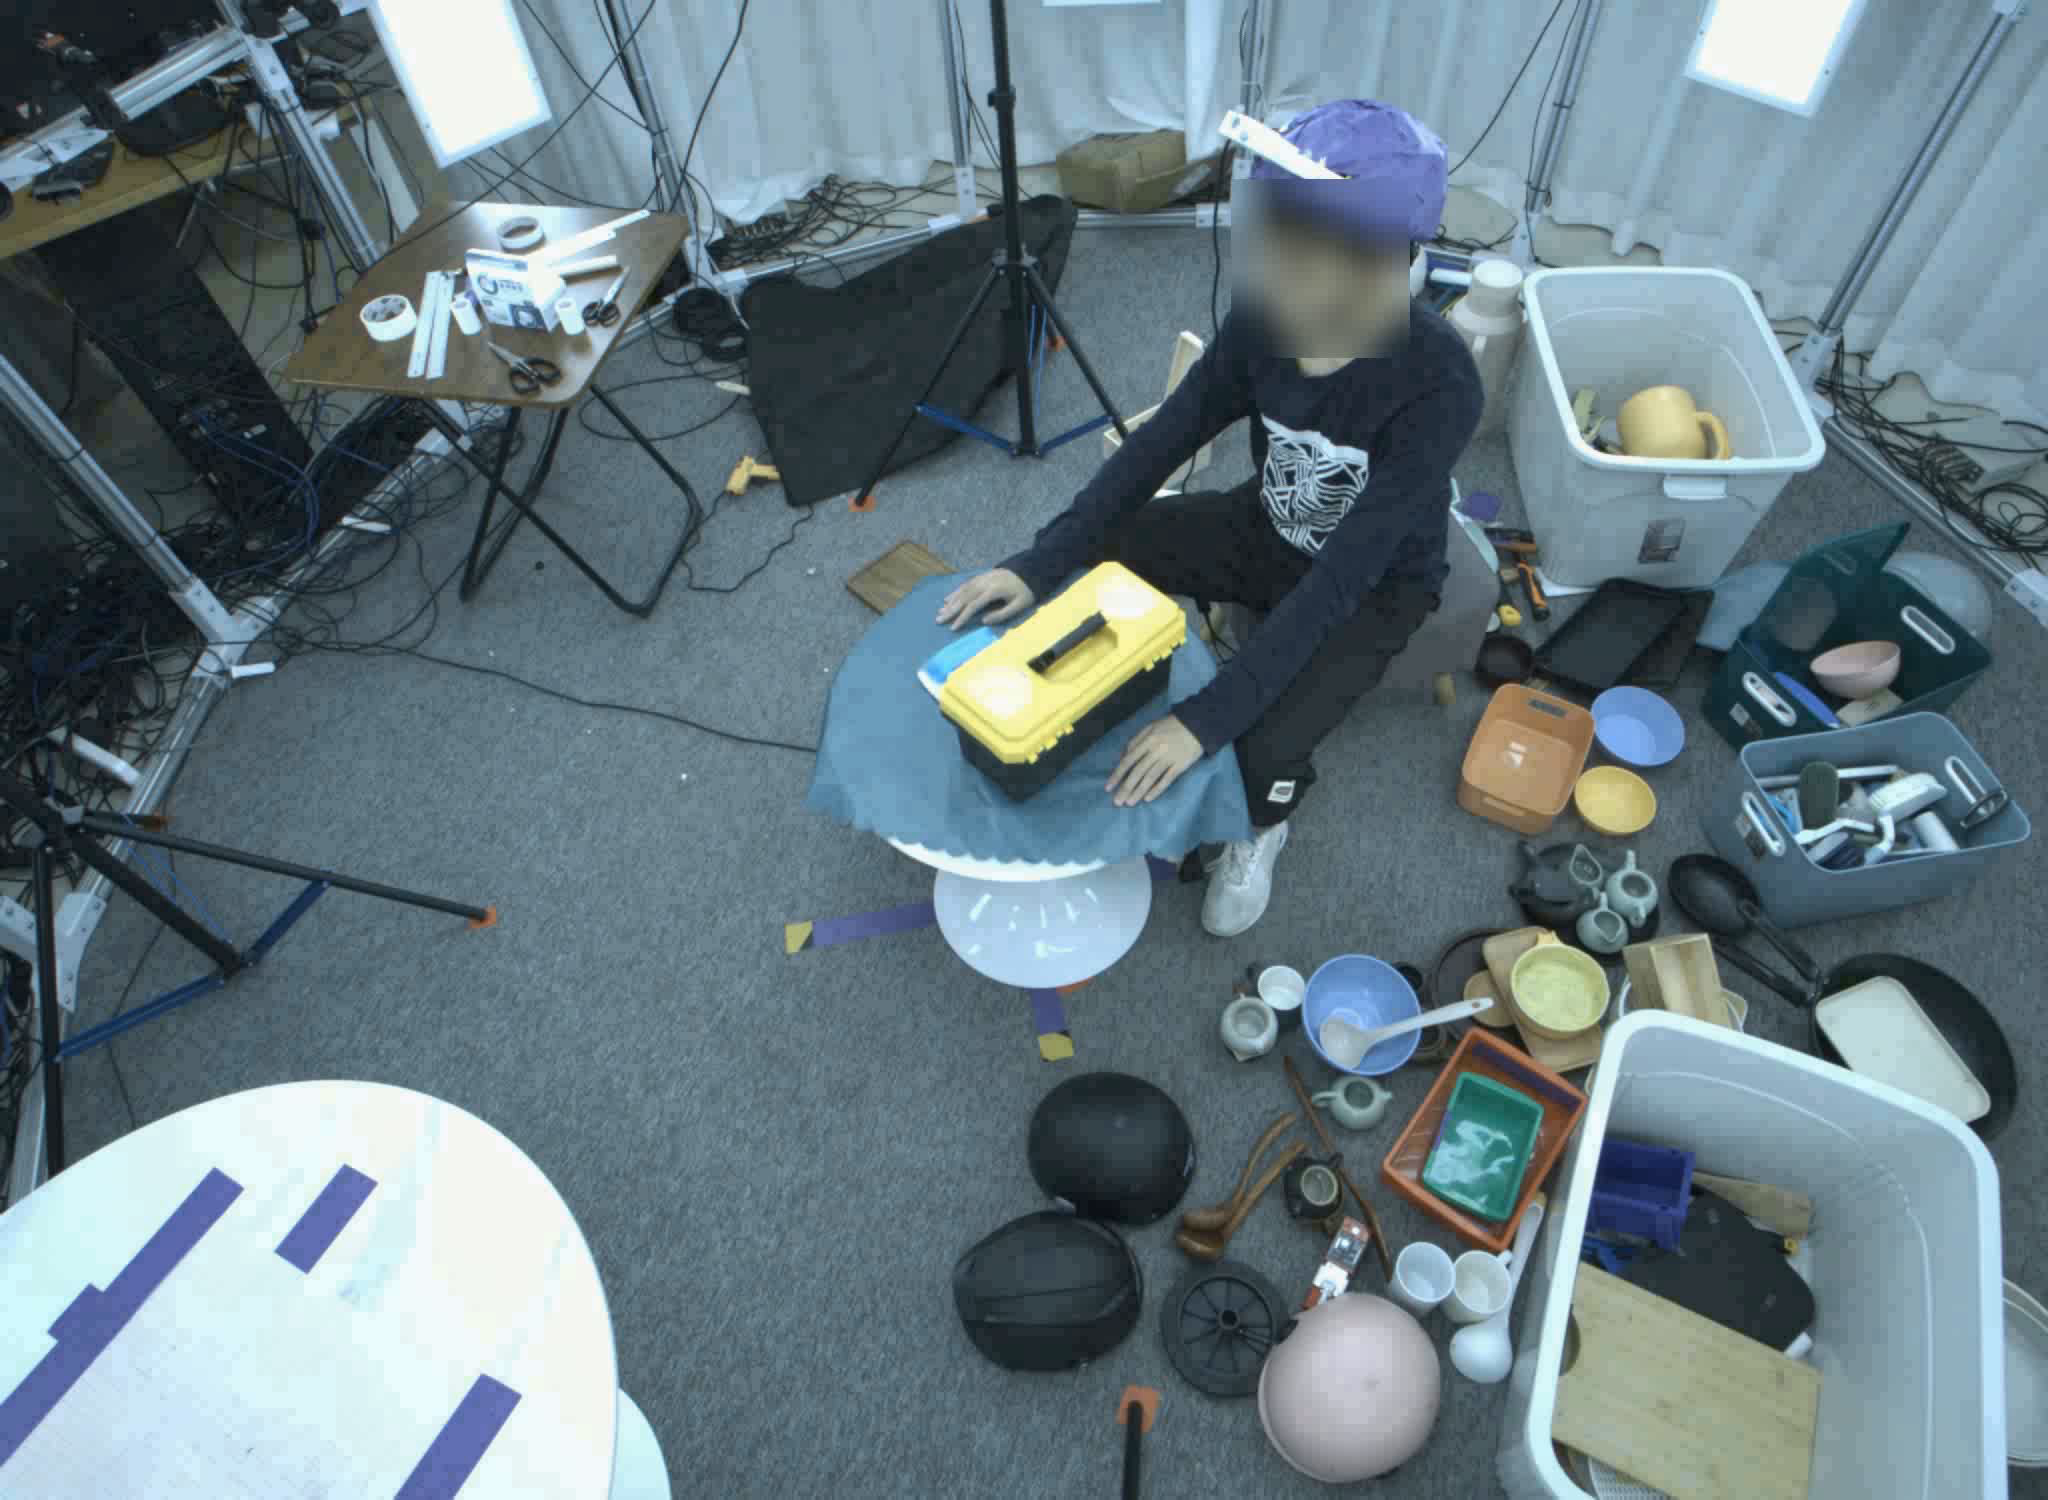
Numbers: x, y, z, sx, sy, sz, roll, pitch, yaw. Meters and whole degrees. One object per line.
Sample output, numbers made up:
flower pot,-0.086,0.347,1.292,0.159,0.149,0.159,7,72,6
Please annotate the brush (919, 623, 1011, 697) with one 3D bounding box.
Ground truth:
brush,-0.084,-0.144,1.848,0.145,0.056,0.082,-31,62,-16

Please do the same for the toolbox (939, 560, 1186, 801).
toolbox,0.058,-0.099,1.740,0.354,0.175,0.178,-39,61,-22
